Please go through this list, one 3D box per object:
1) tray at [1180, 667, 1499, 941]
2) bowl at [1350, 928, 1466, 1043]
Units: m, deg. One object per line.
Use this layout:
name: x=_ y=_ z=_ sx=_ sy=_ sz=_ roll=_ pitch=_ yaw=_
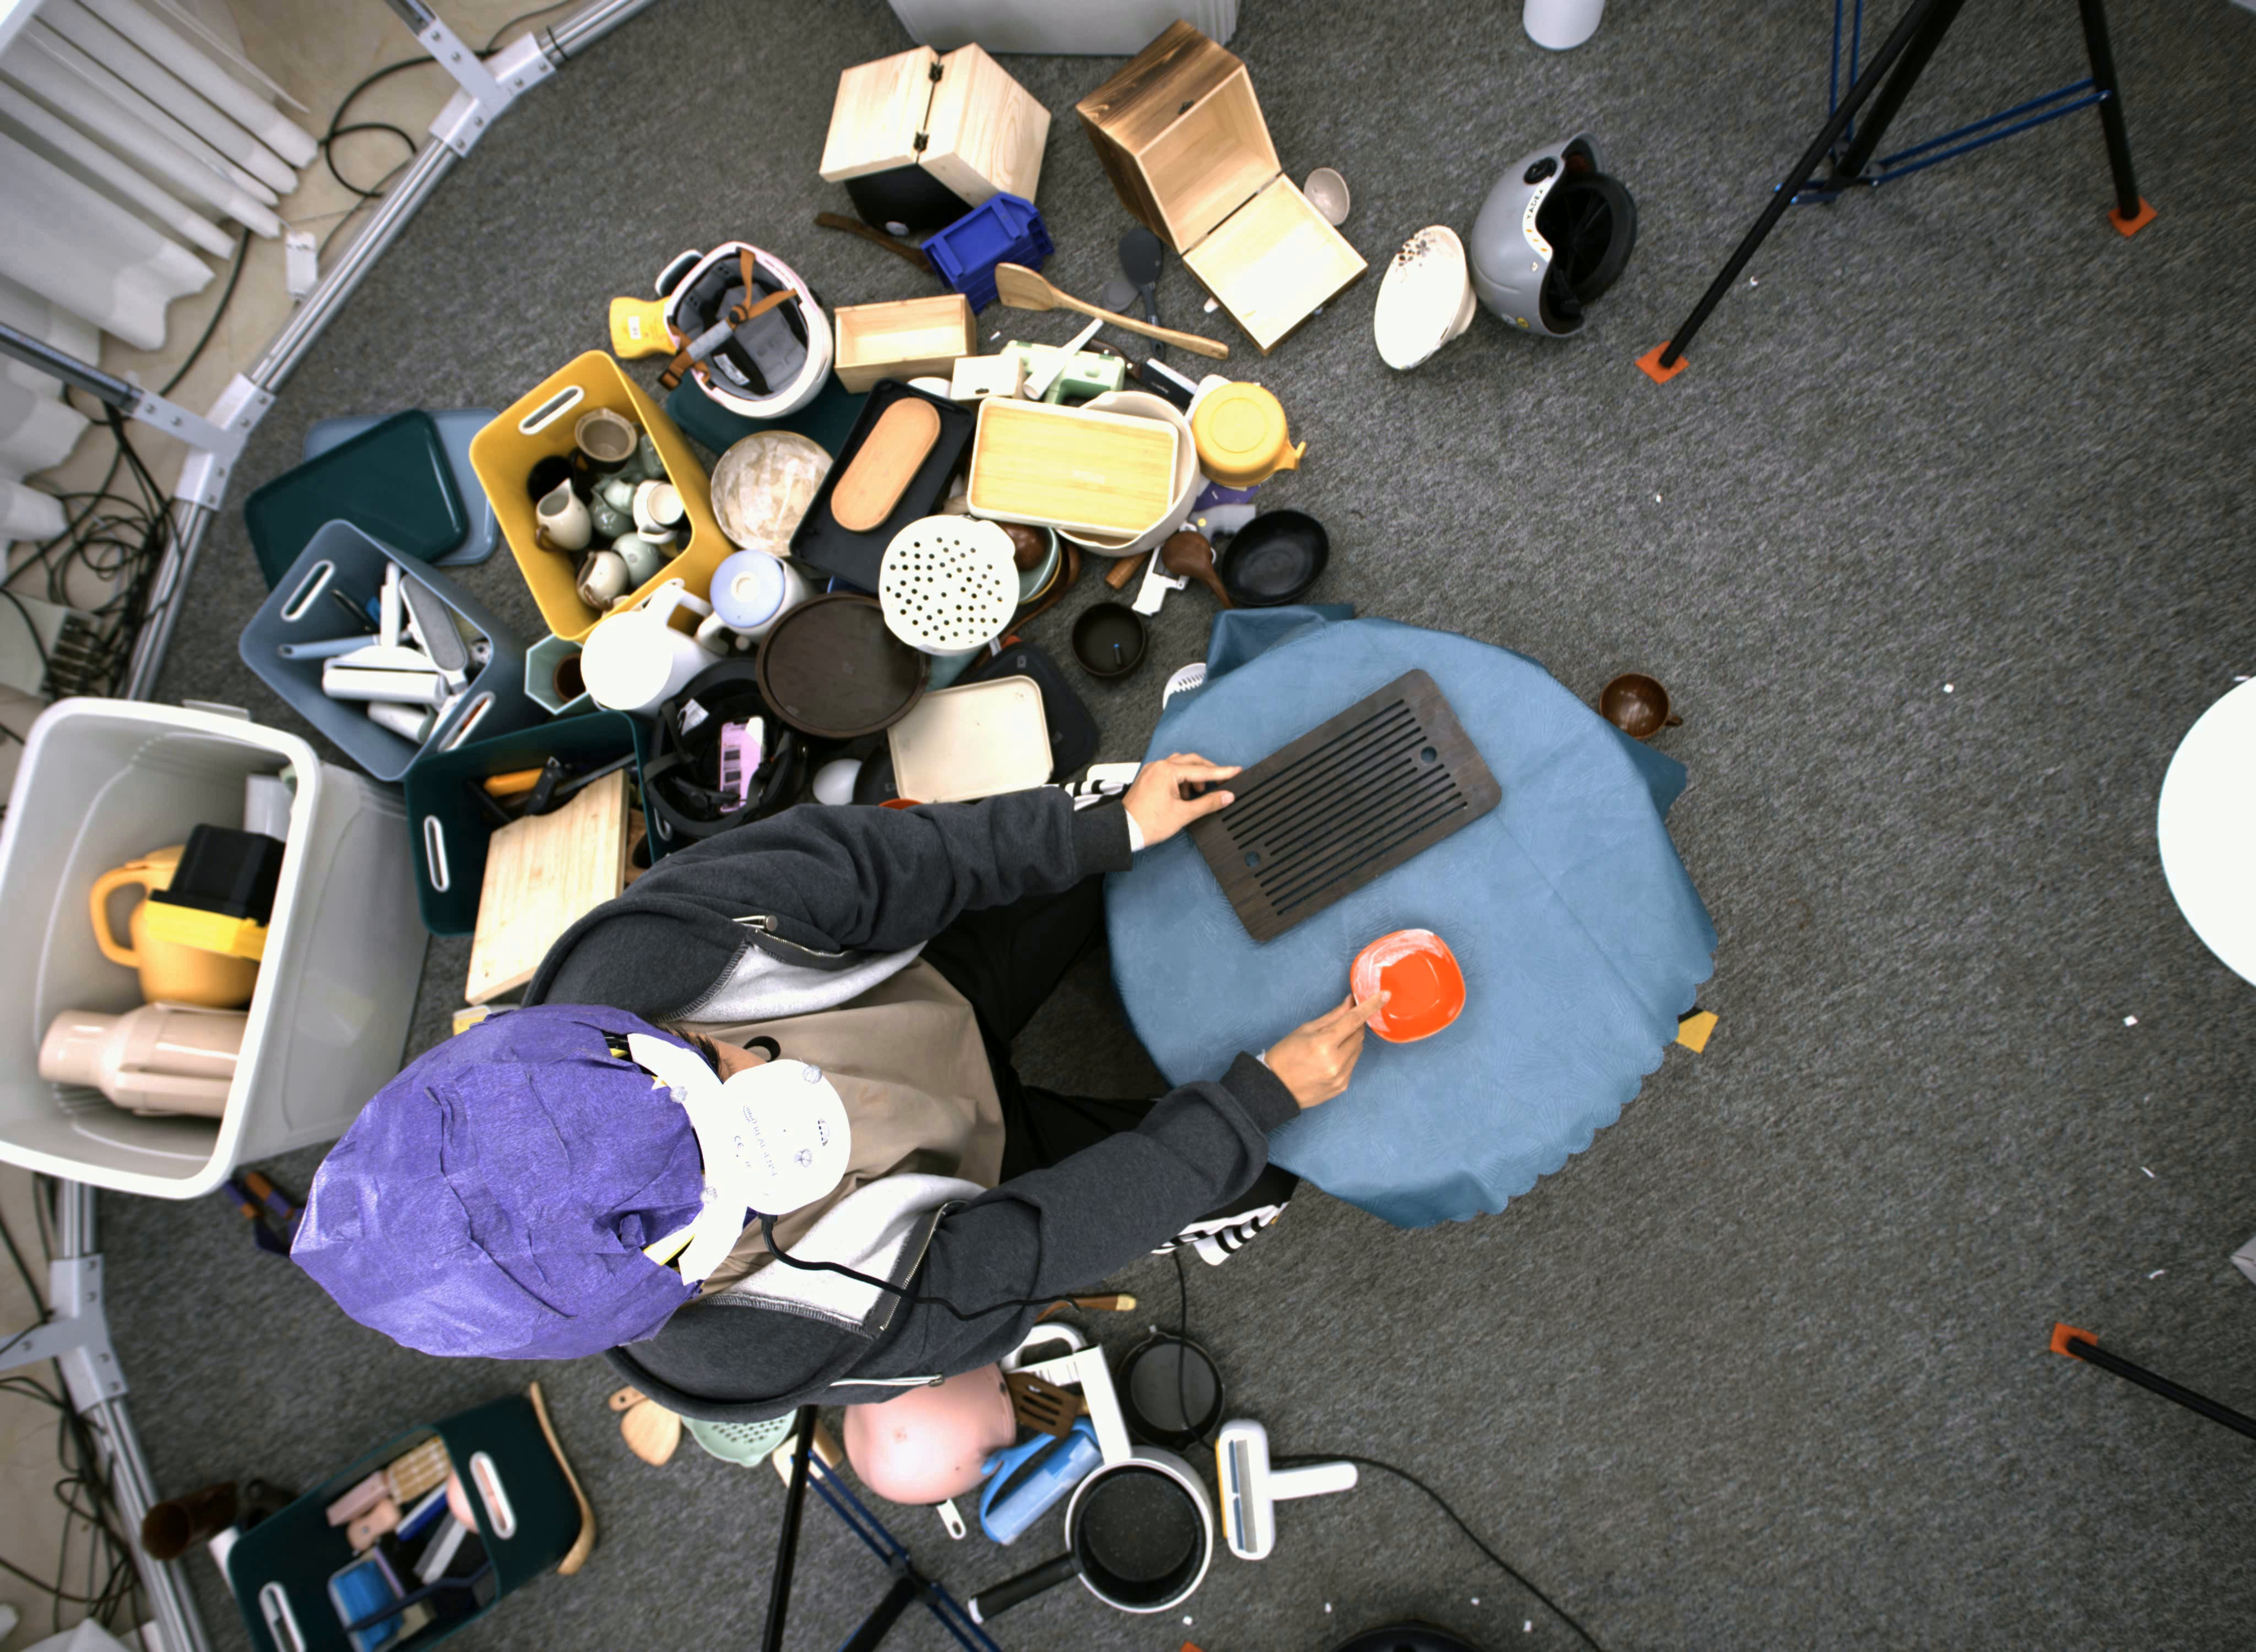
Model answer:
tray: x=0.222 y=-0.024 z=1.462 sx=0.308 sy=0.018 sz=0.169 roll=-31 pitch=84 yaw=8
bowl: x=0.287 y=0.162 z=1.423 sx=0.119 sy=0.051 sz=0.118 roll=-1 pitch=86 yaw=8
